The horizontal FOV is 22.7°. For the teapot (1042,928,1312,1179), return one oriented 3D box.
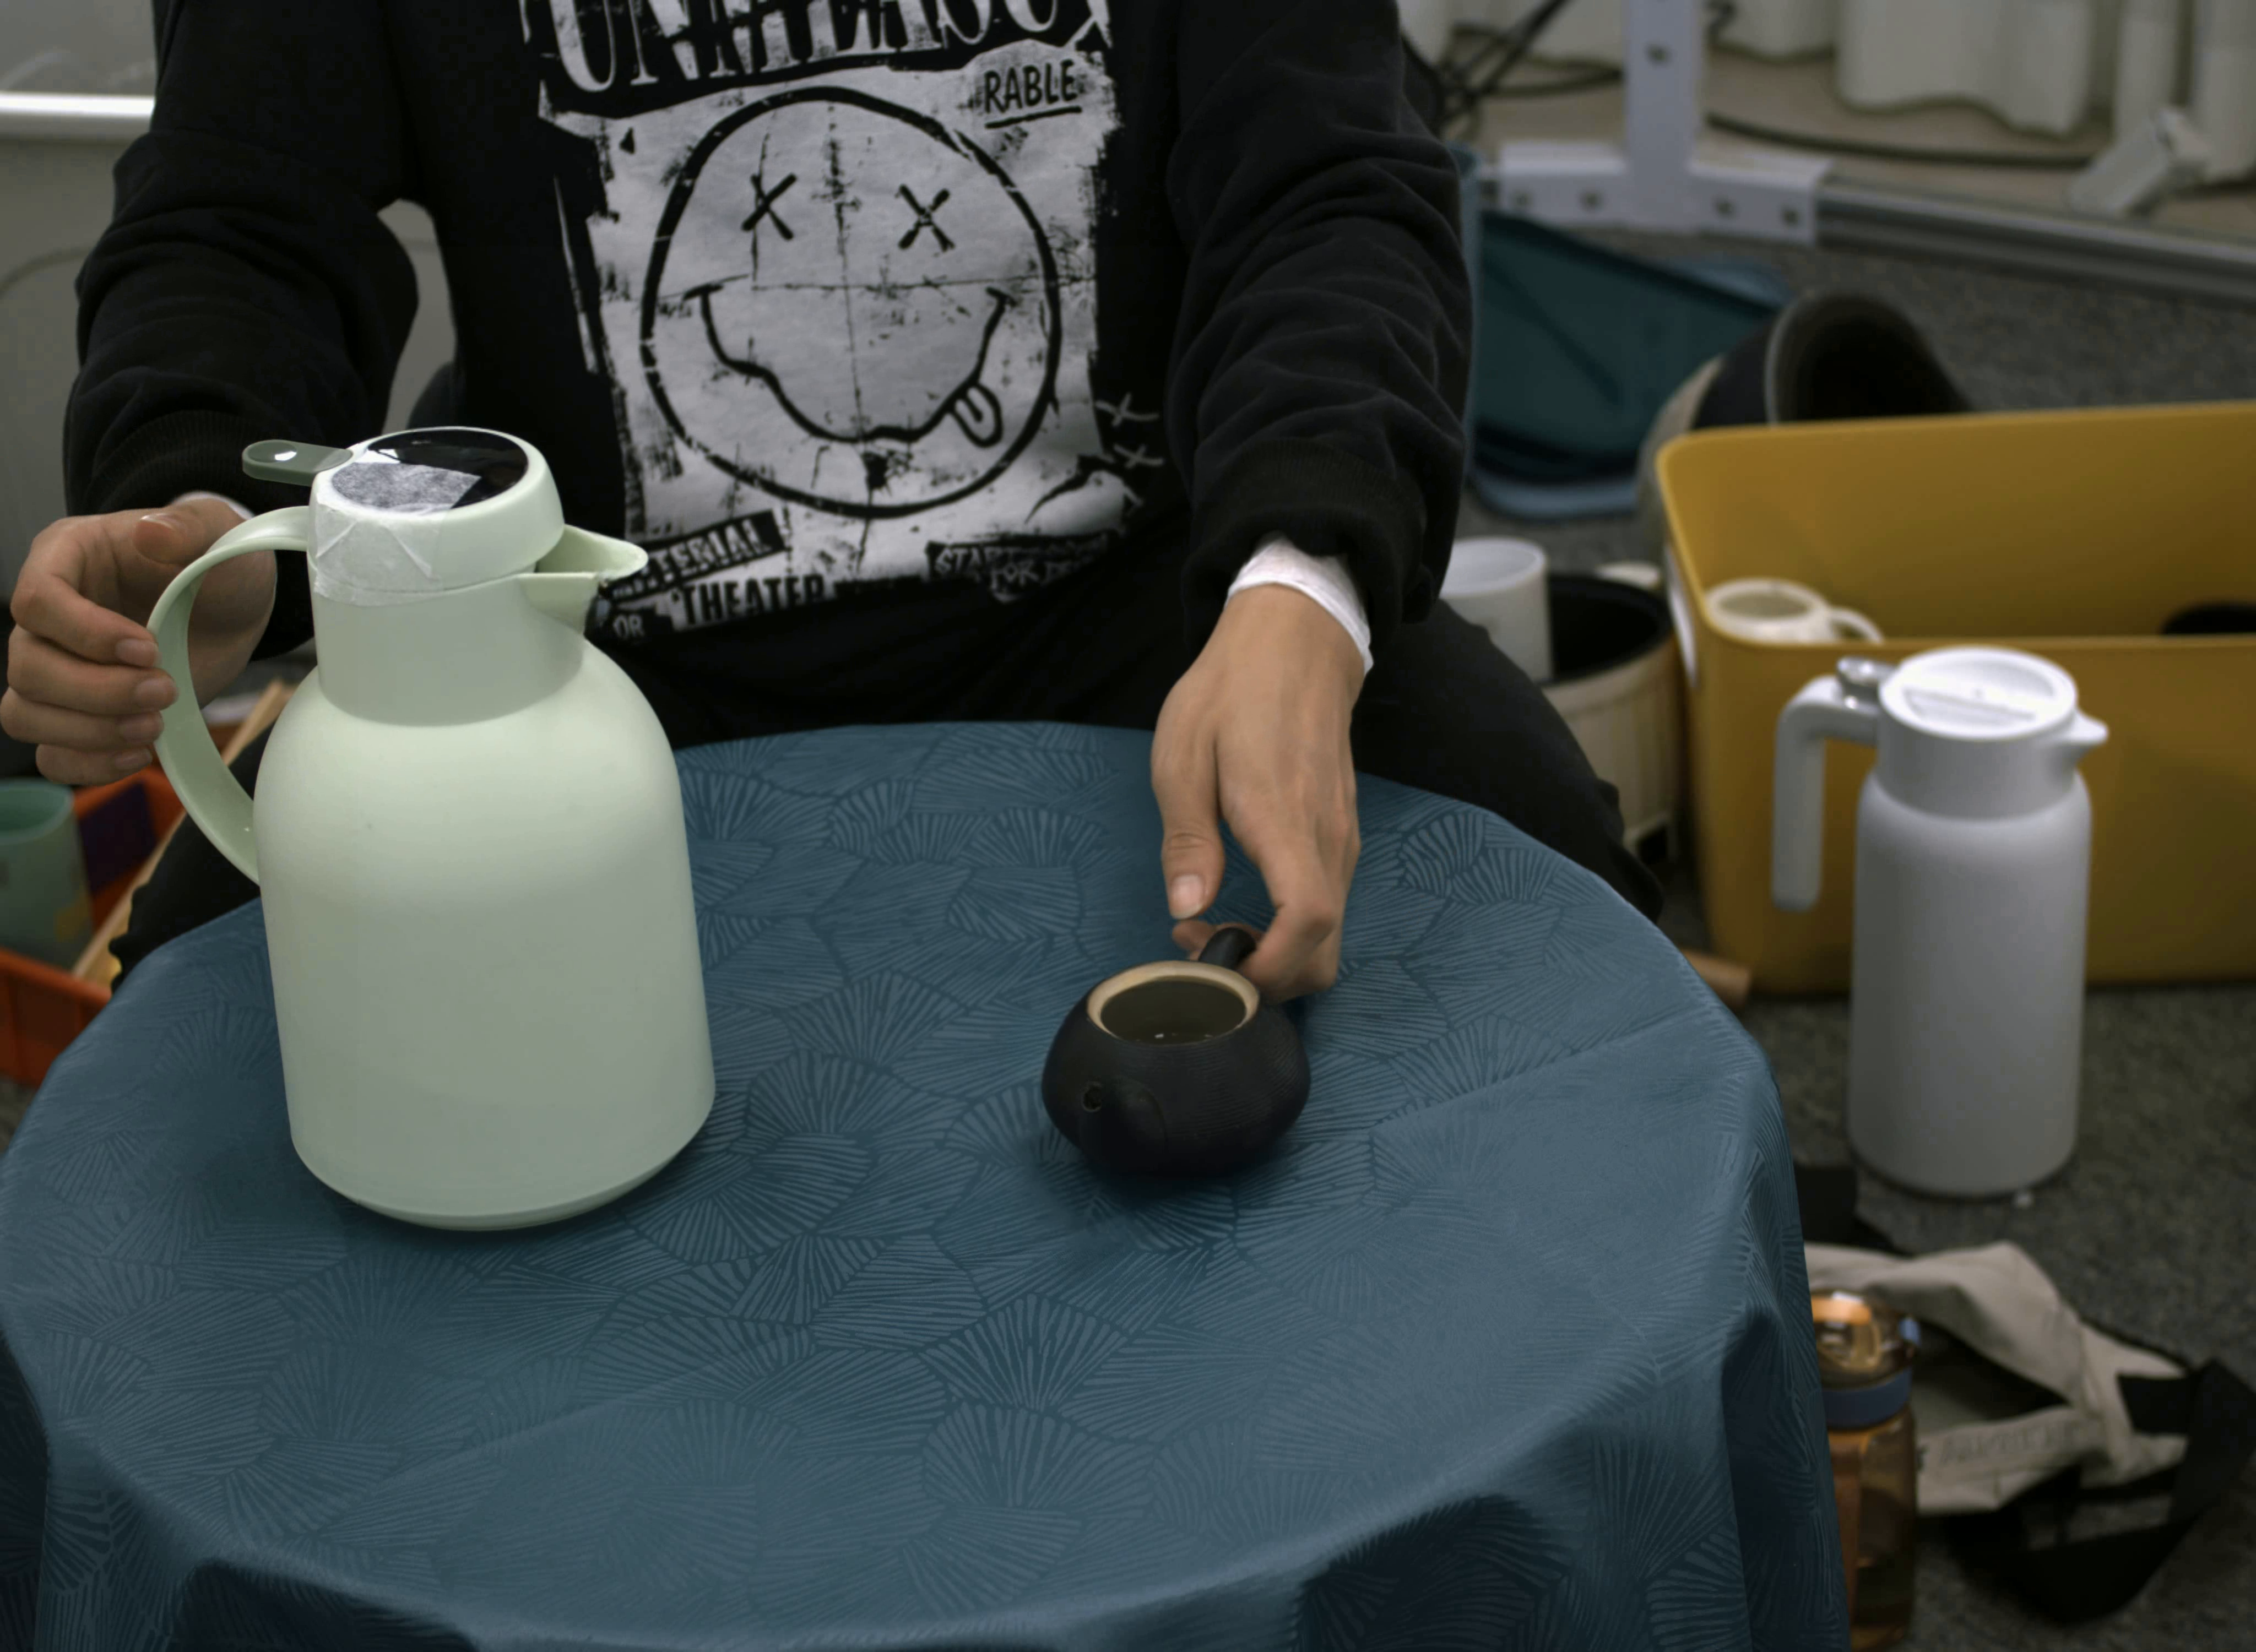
[{"bbox_3d":[0.017,0.082,1.877,0.090,0.052,0.135,10,30,21],"label":"teapot"}]

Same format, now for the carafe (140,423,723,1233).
[{"bbox_3d":[-0.230,-0.005,1.858,0.185,0.254,0.147,3,28,19],"label":"carafe"}]
